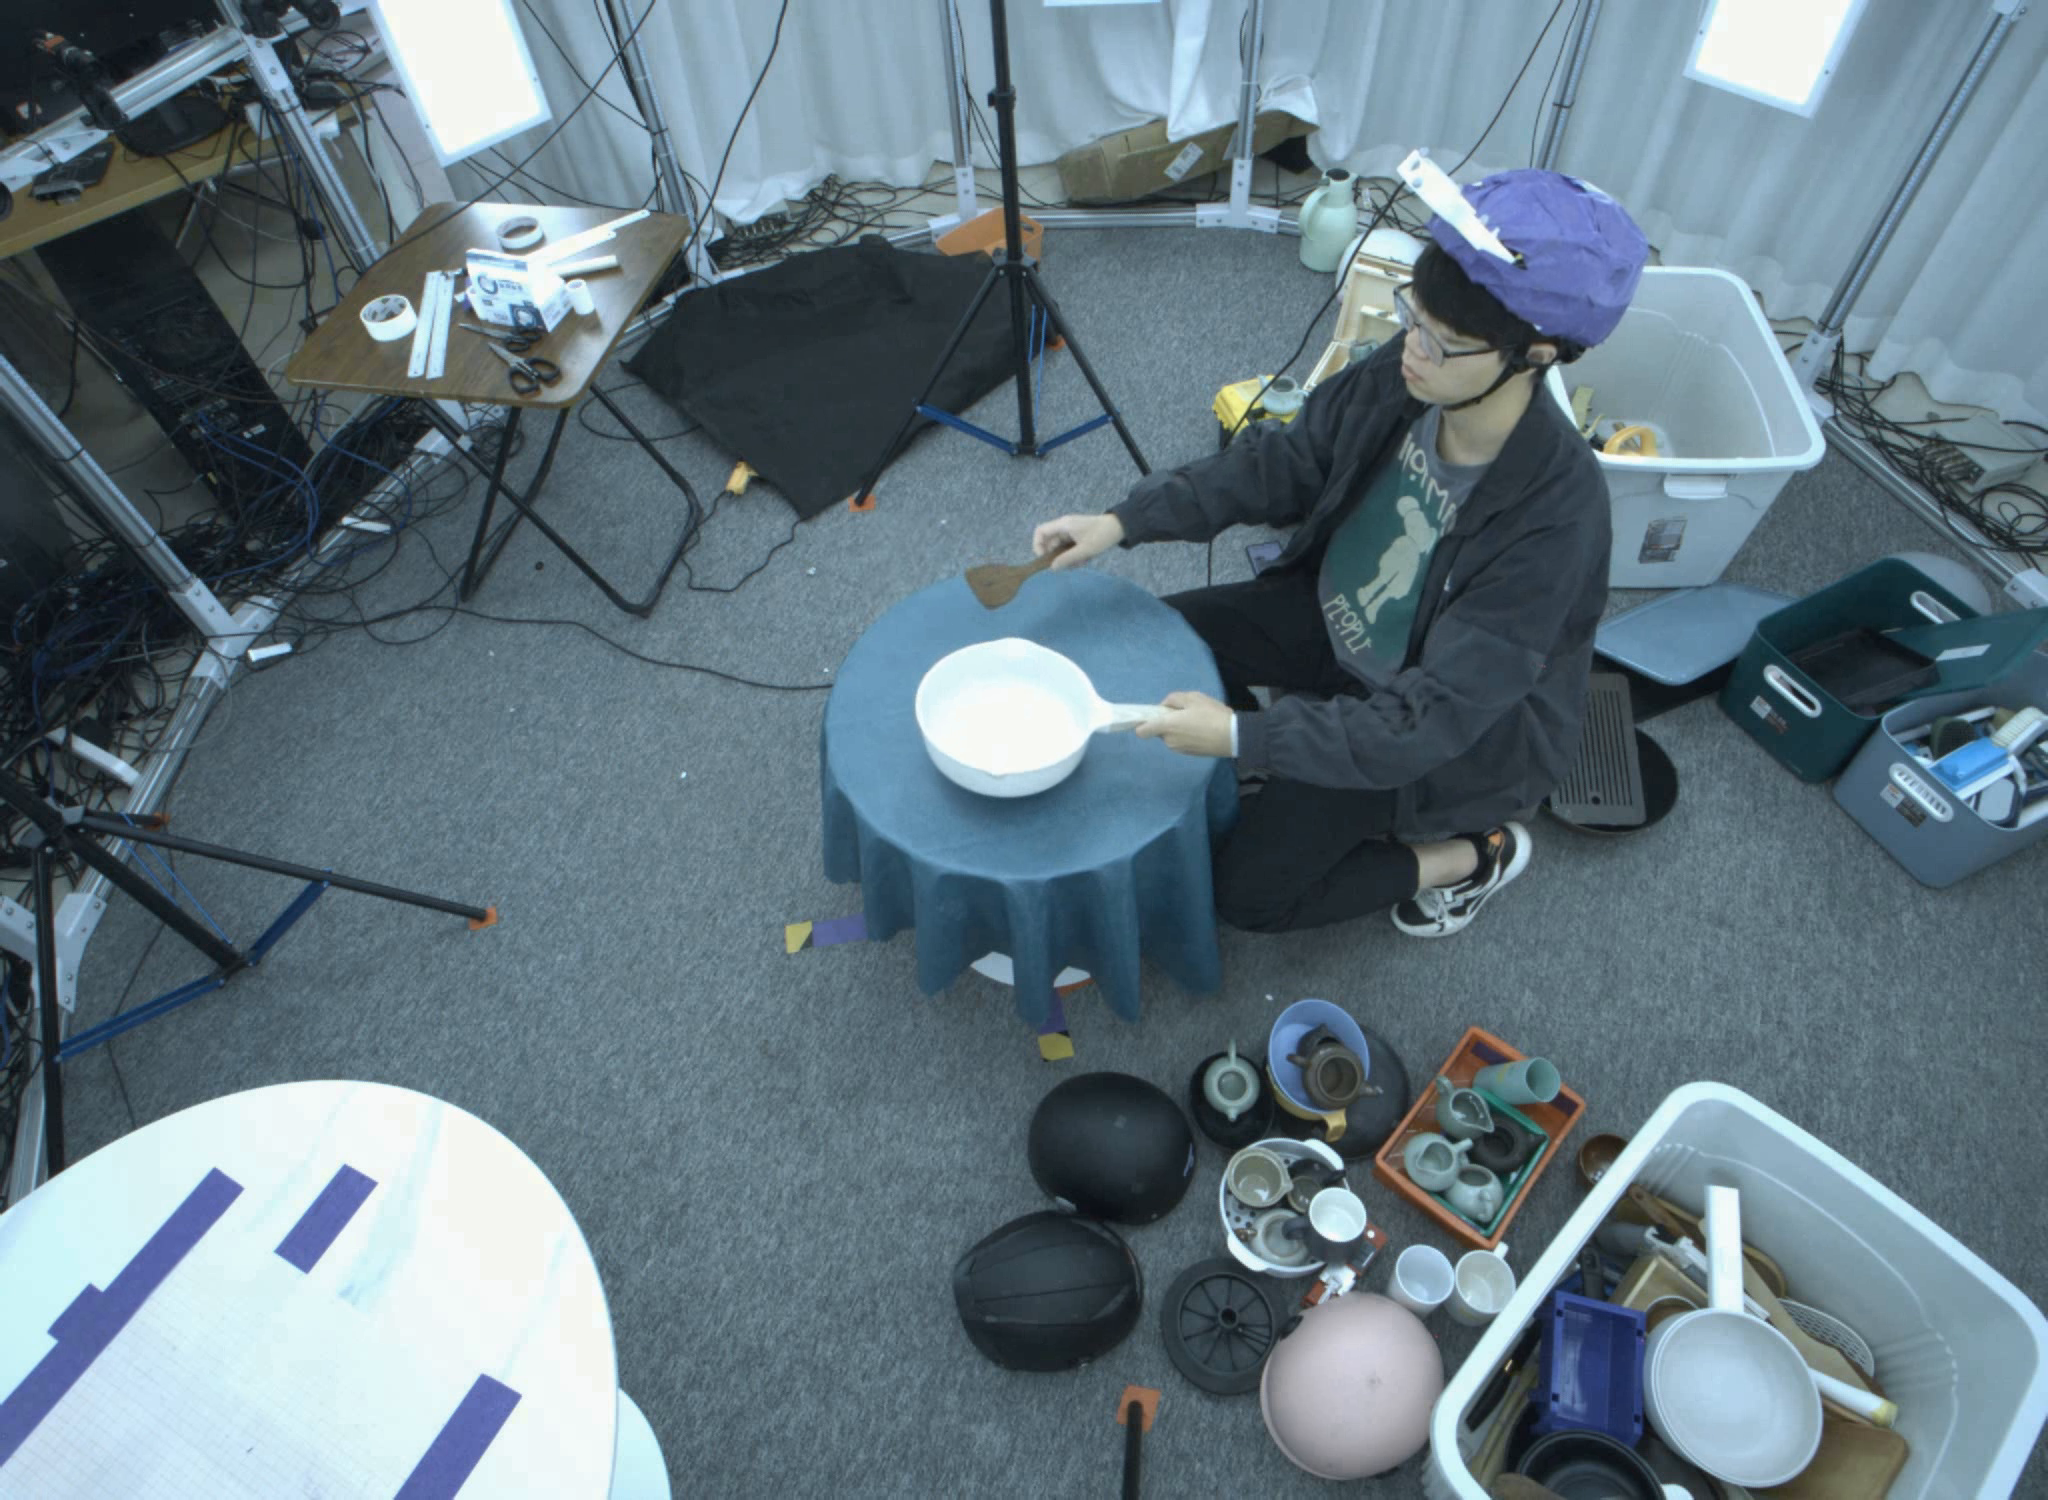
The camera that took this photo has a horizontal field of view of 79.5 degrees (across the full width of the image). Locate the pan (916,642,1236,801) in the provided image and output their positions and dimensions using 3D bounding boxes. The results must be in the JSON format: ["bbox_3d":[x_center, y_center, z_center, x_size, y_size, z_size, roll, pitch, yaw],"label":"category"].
[{"bbox_3d":[0.068,-0.030,1.701,0.435,0.103,0.261,5,47,0],"label":"pan"}]

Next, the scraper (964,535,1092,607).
[{"bbox_3d":[0.011,-0.278,1.844,0.213,0.011,0.075,-26,77,-22],"label":"scraper"}]
